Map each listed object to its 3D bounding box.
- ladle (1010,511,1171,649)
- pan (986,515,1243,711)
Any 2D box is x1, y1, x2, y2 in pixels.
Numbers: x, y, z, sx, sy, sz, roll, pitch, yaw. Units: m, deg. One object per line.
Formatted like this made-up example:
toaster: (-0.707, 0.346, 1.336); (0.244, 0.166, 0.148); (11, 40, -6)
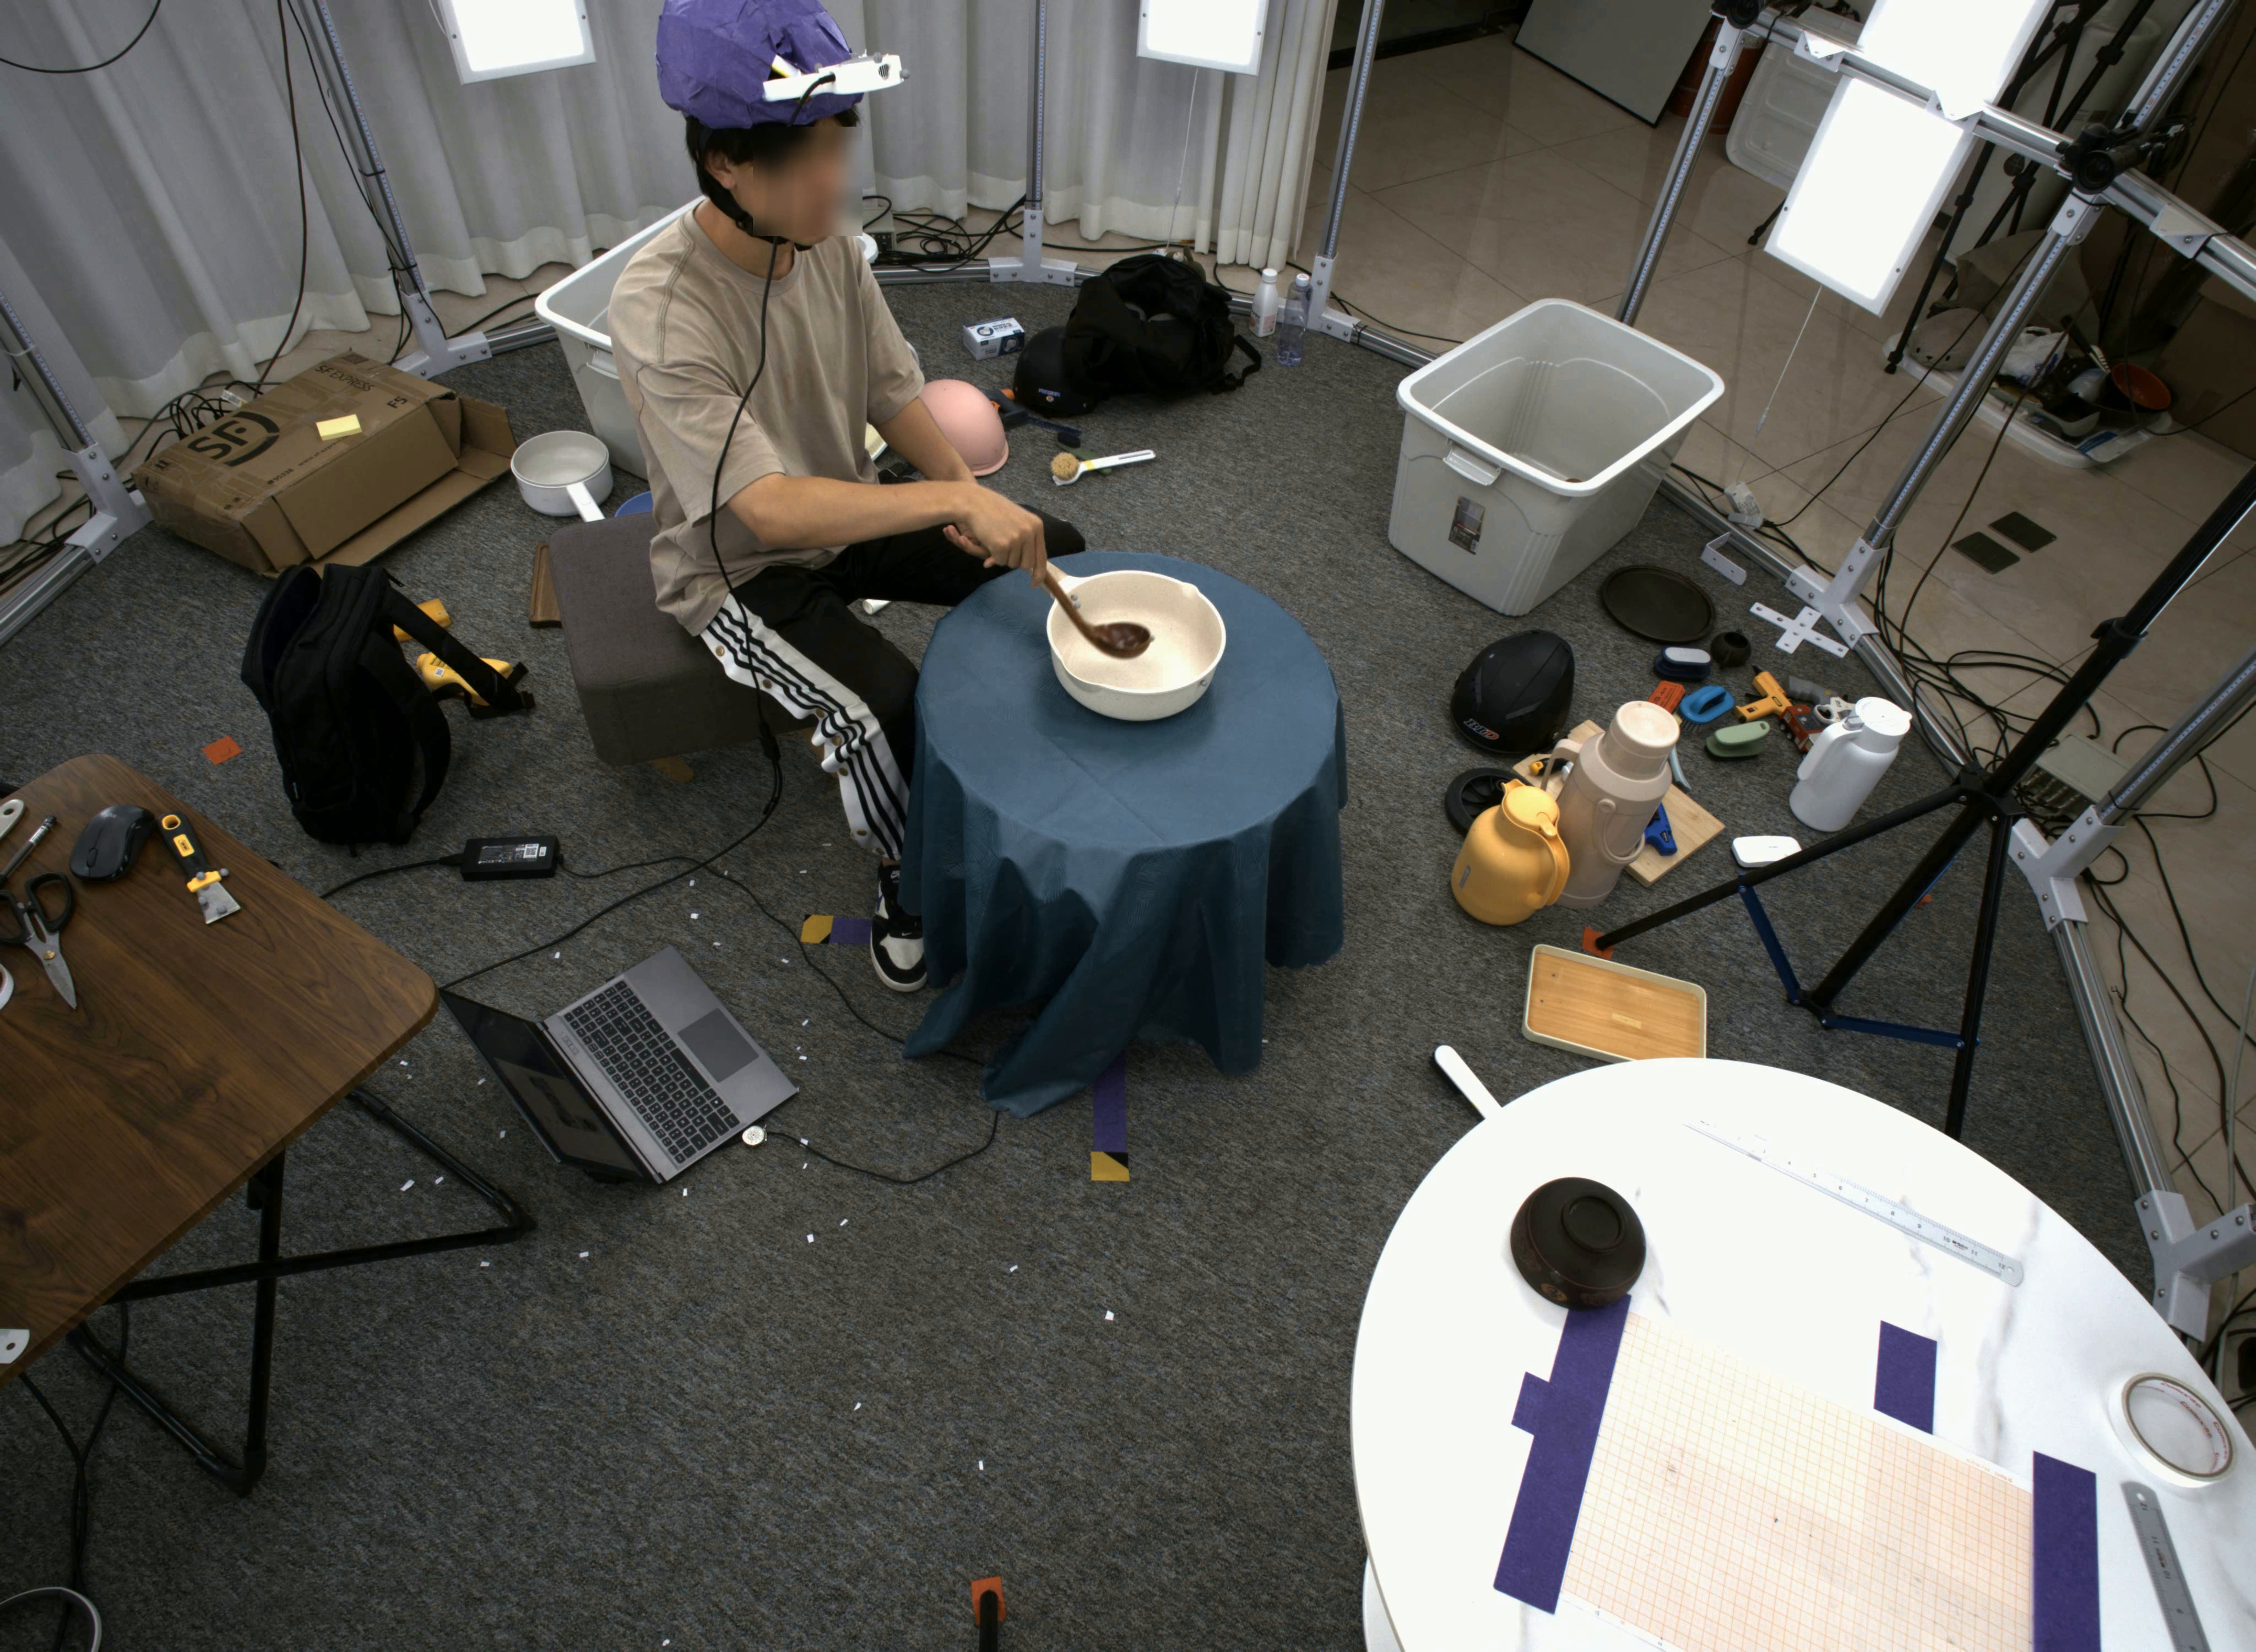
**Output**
ladle: (-0.042, -0.332, 1.698); (0.076, 0.269, 0.083); (-41, 33, 2)
pan: (-0.037, -0.316, 1.862); (0.440, 0.099, 0.266); (33, 55, 23)
